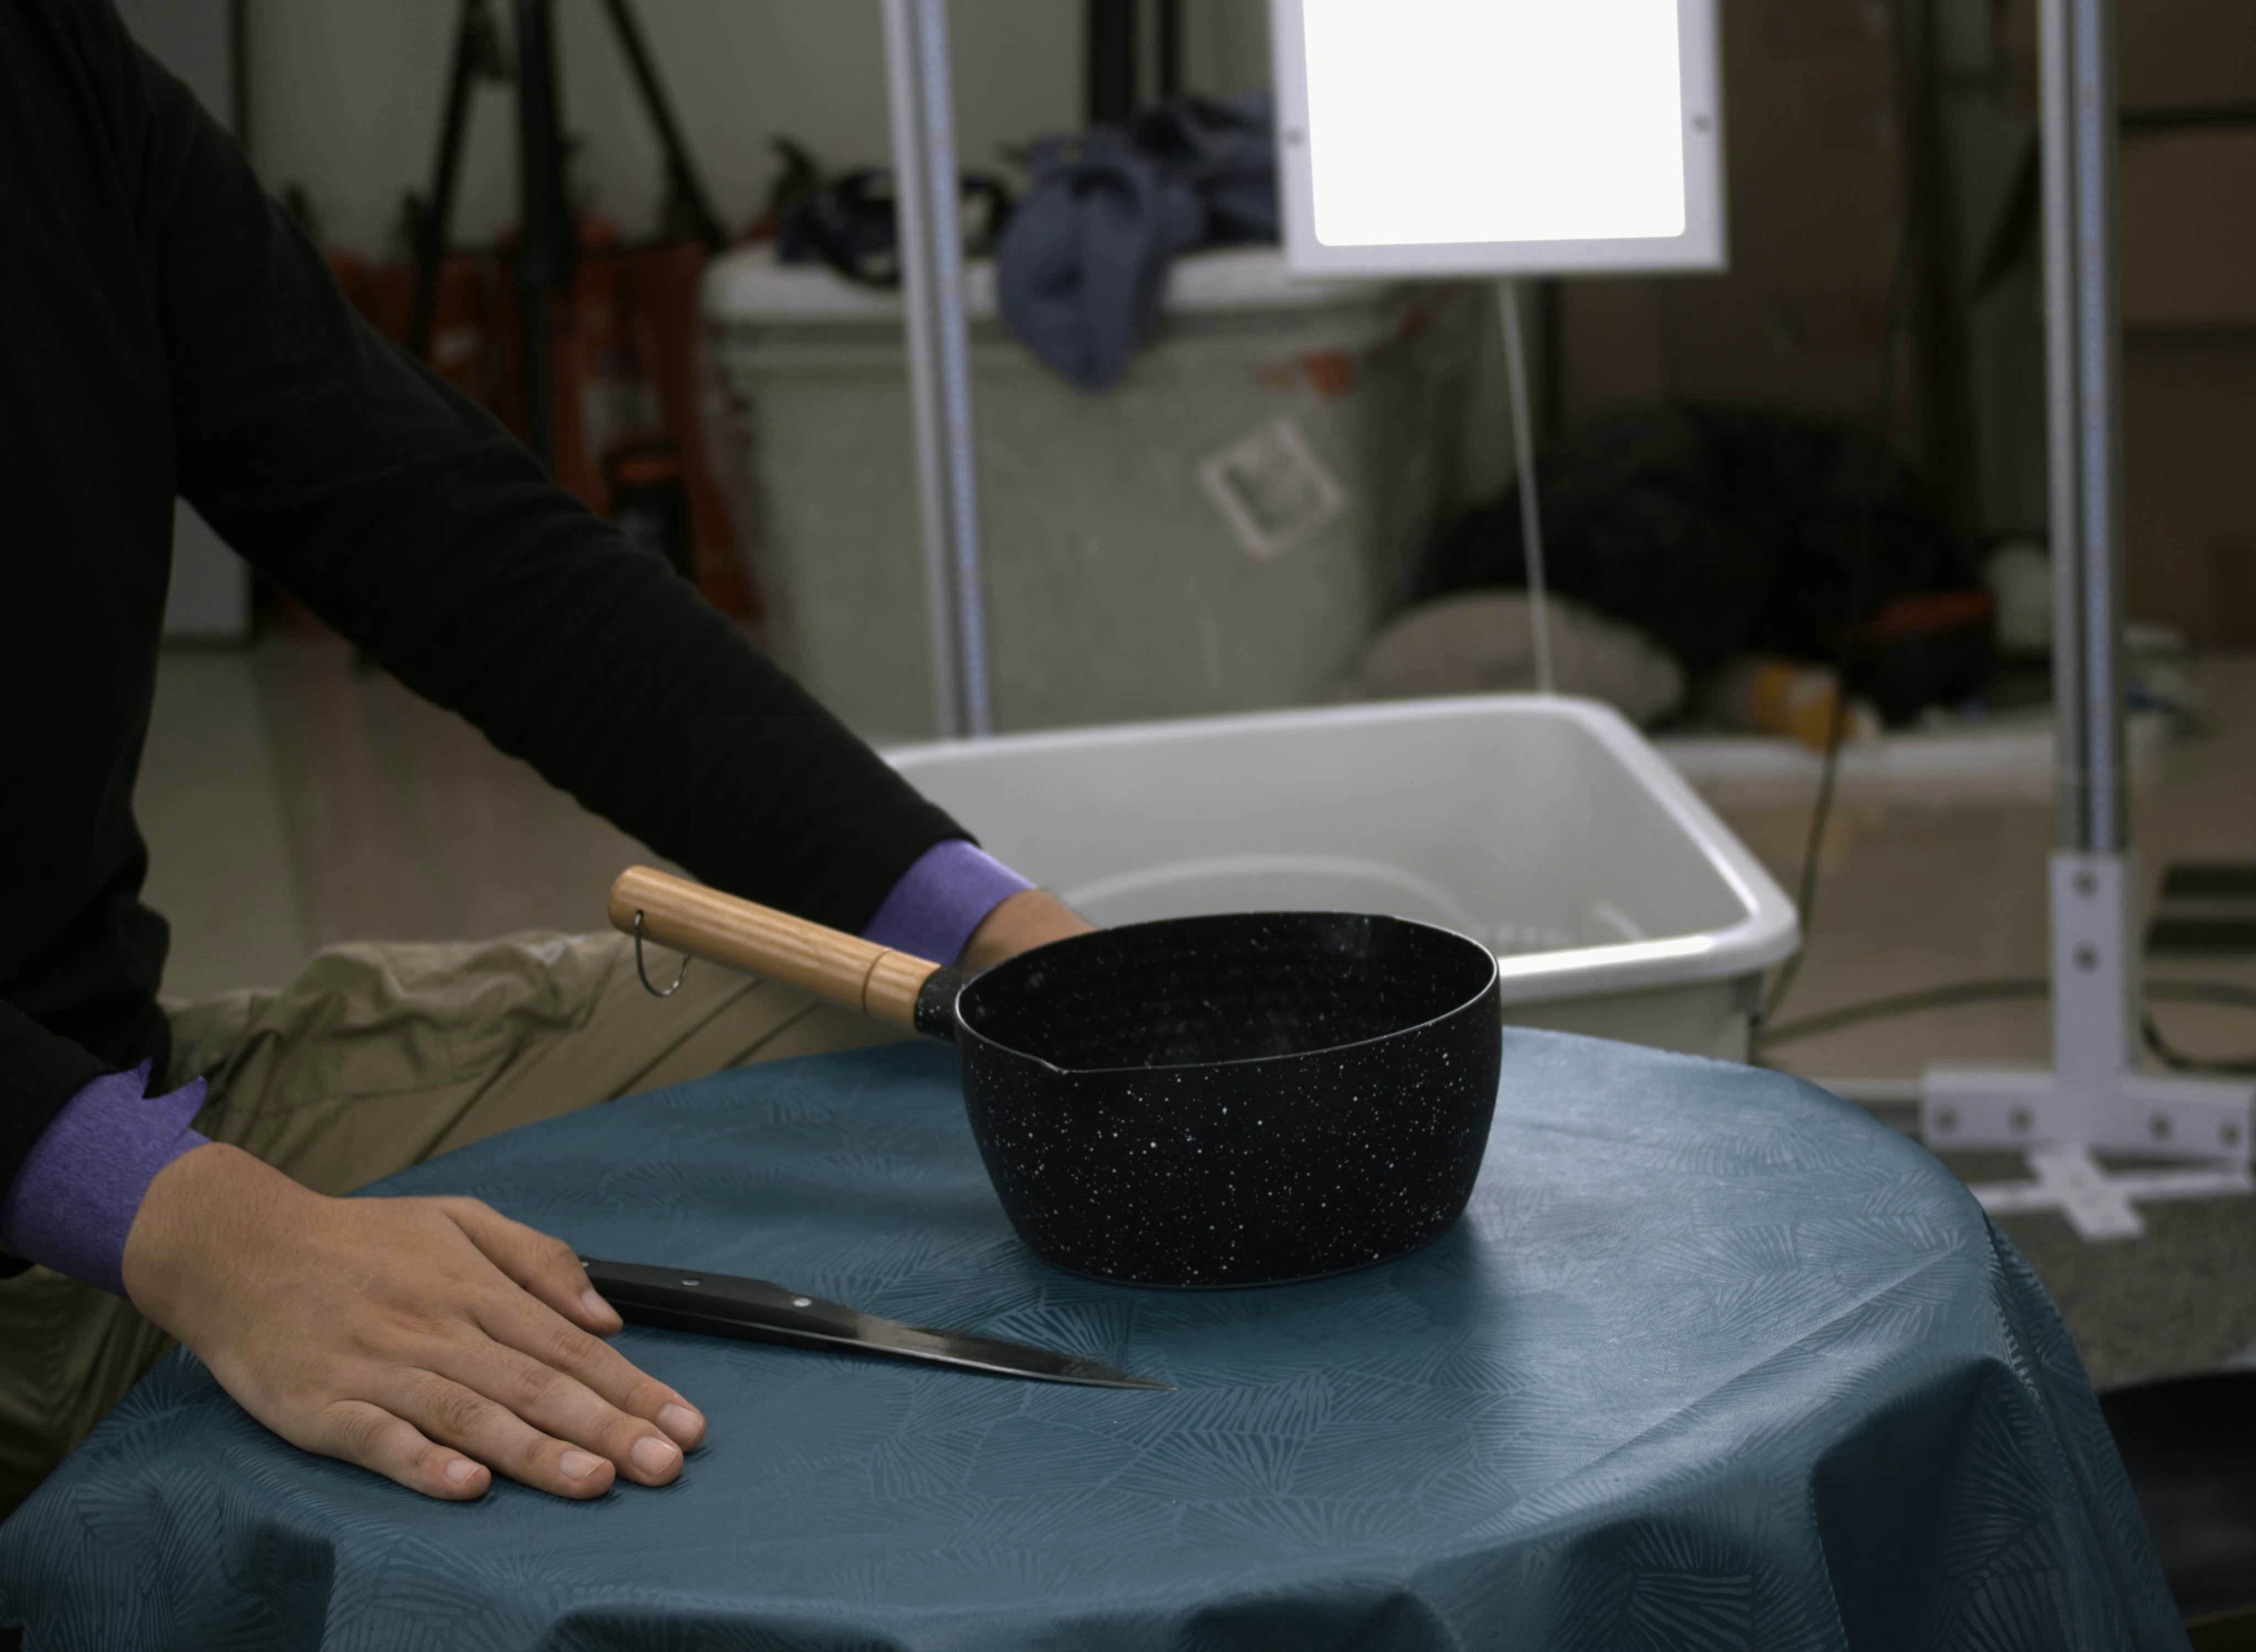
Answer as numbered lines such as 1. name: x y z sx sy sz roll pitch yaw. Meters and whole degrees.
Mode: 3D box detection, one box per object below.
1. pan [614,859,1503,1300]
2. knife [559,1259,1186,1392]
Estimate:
1. pan: -0.033 0.078 1.887 0.349 0.108 0.202 5 17 32
2. knife: -0.086 0.162 1.763 0.242 0.016 0.024 7 13 31
